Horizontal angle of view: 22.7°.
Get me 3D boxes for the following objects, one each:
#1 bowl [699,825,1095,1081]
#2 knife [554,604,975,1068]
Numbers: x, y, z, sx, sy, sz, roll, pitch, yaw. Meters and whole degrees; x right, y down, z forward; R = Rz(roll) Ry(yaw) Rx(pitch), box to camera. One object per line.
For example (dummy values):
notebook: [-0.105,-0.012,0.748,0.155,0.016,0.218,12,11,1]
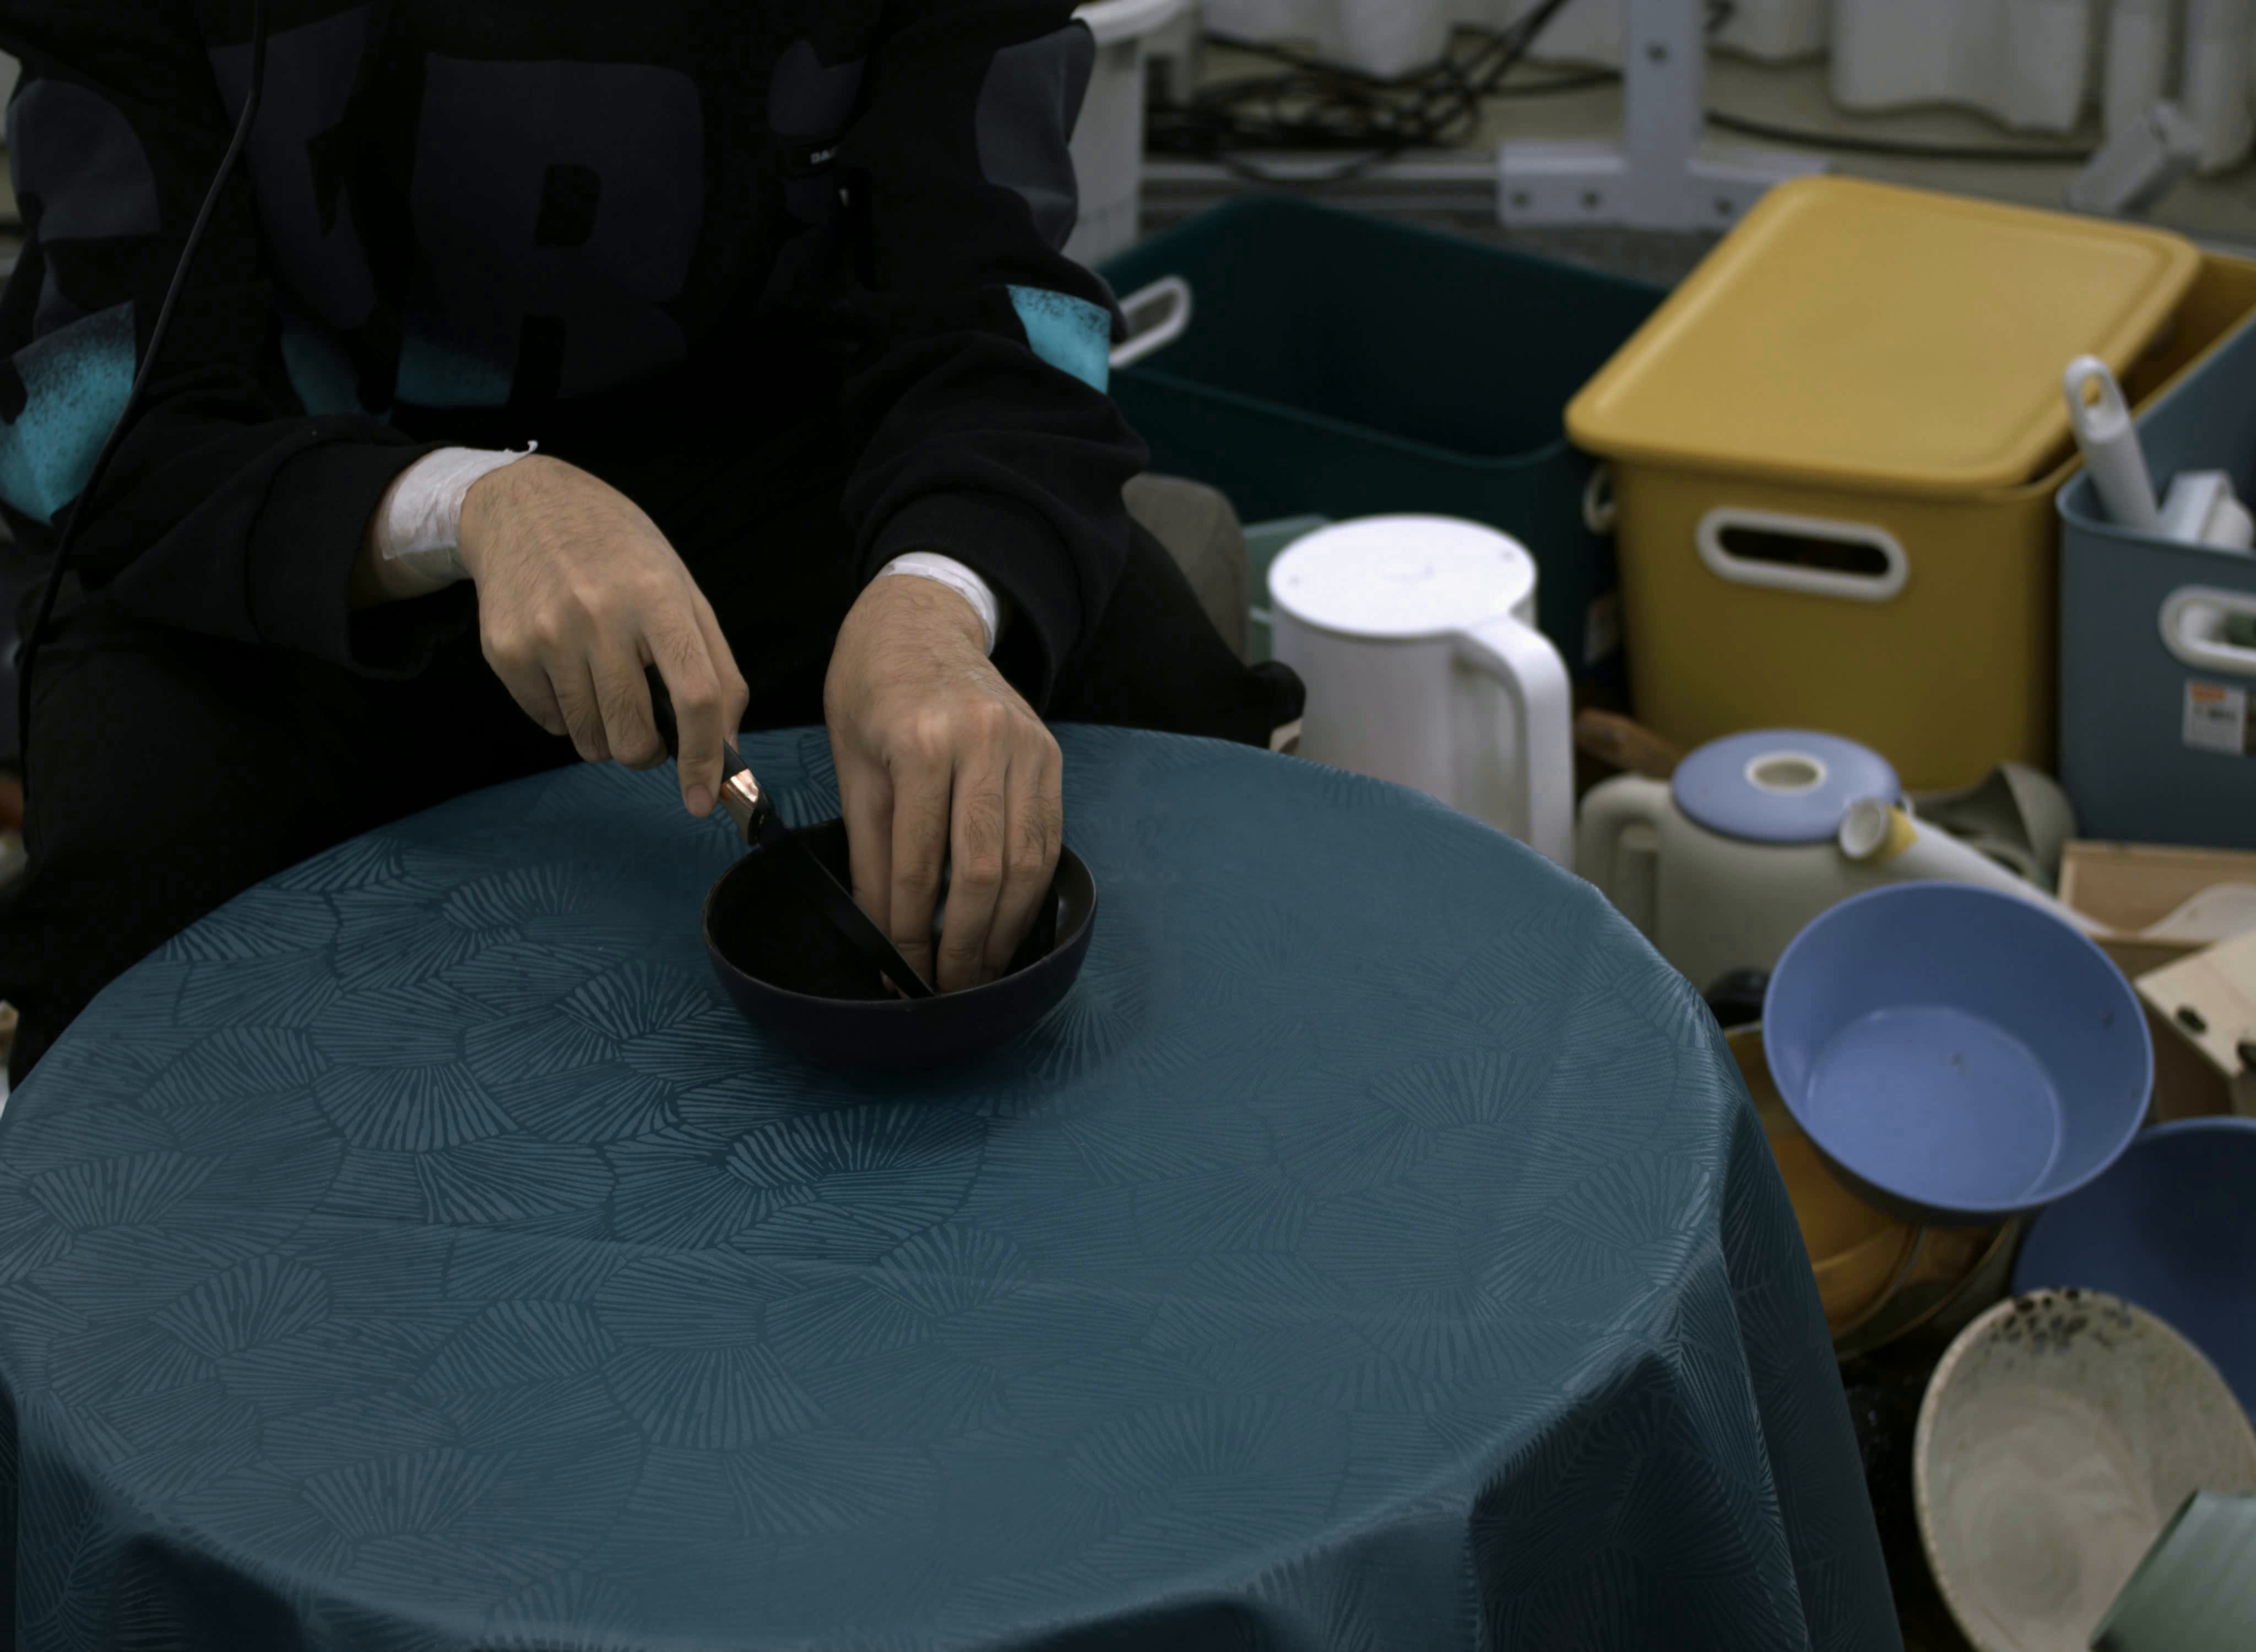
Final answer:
bowl: [-0.078,0.051,1.959,0.139,0.049,0.142,-5,24,3]
knife: [-0.127,0.003,1.977,0.017,0.026,0.226,-32,69,-32]
